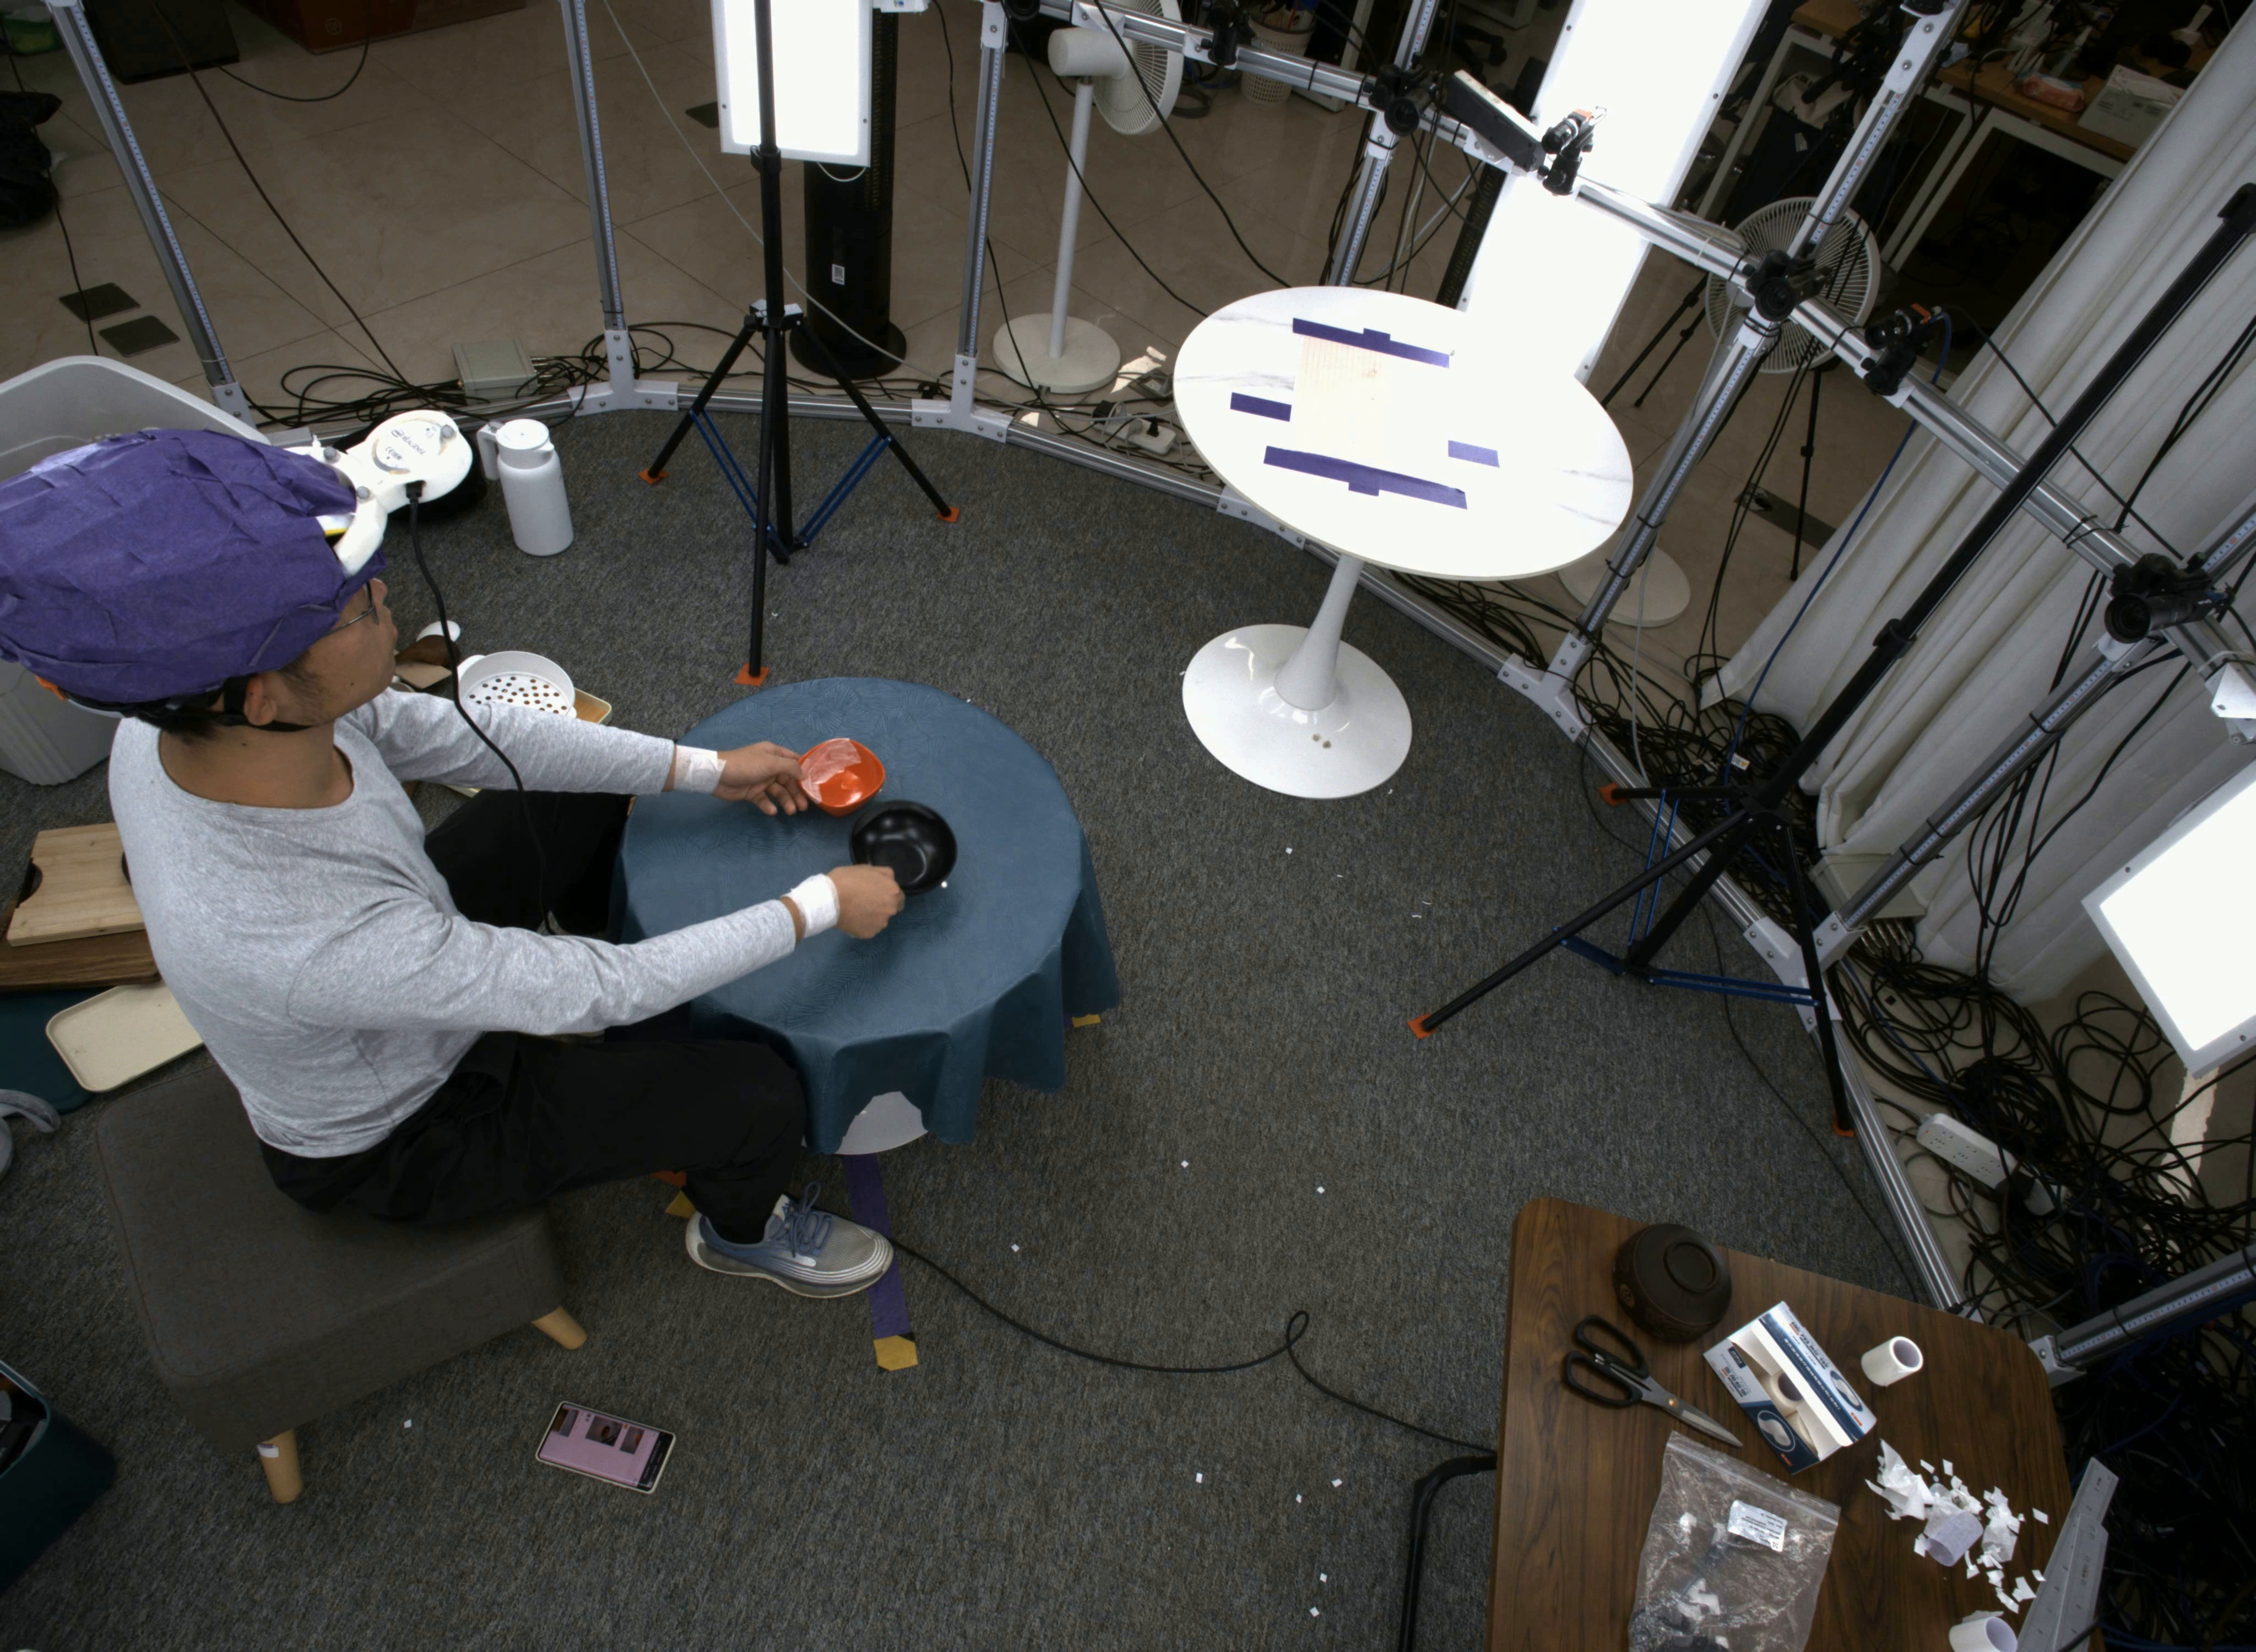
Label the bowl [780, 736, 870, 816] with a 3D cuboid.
[{"bbox_3d":[-0.409,-0.060,1.747,0.119,0.052,0.117,10,50,-10],"label":"bowl"}]

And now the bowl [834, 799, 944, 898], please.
[{"bbox_3d":[-0.308,0.036,1.670,0.140,0.050,0.138,10,57,-13],"label":"bowl"}]
